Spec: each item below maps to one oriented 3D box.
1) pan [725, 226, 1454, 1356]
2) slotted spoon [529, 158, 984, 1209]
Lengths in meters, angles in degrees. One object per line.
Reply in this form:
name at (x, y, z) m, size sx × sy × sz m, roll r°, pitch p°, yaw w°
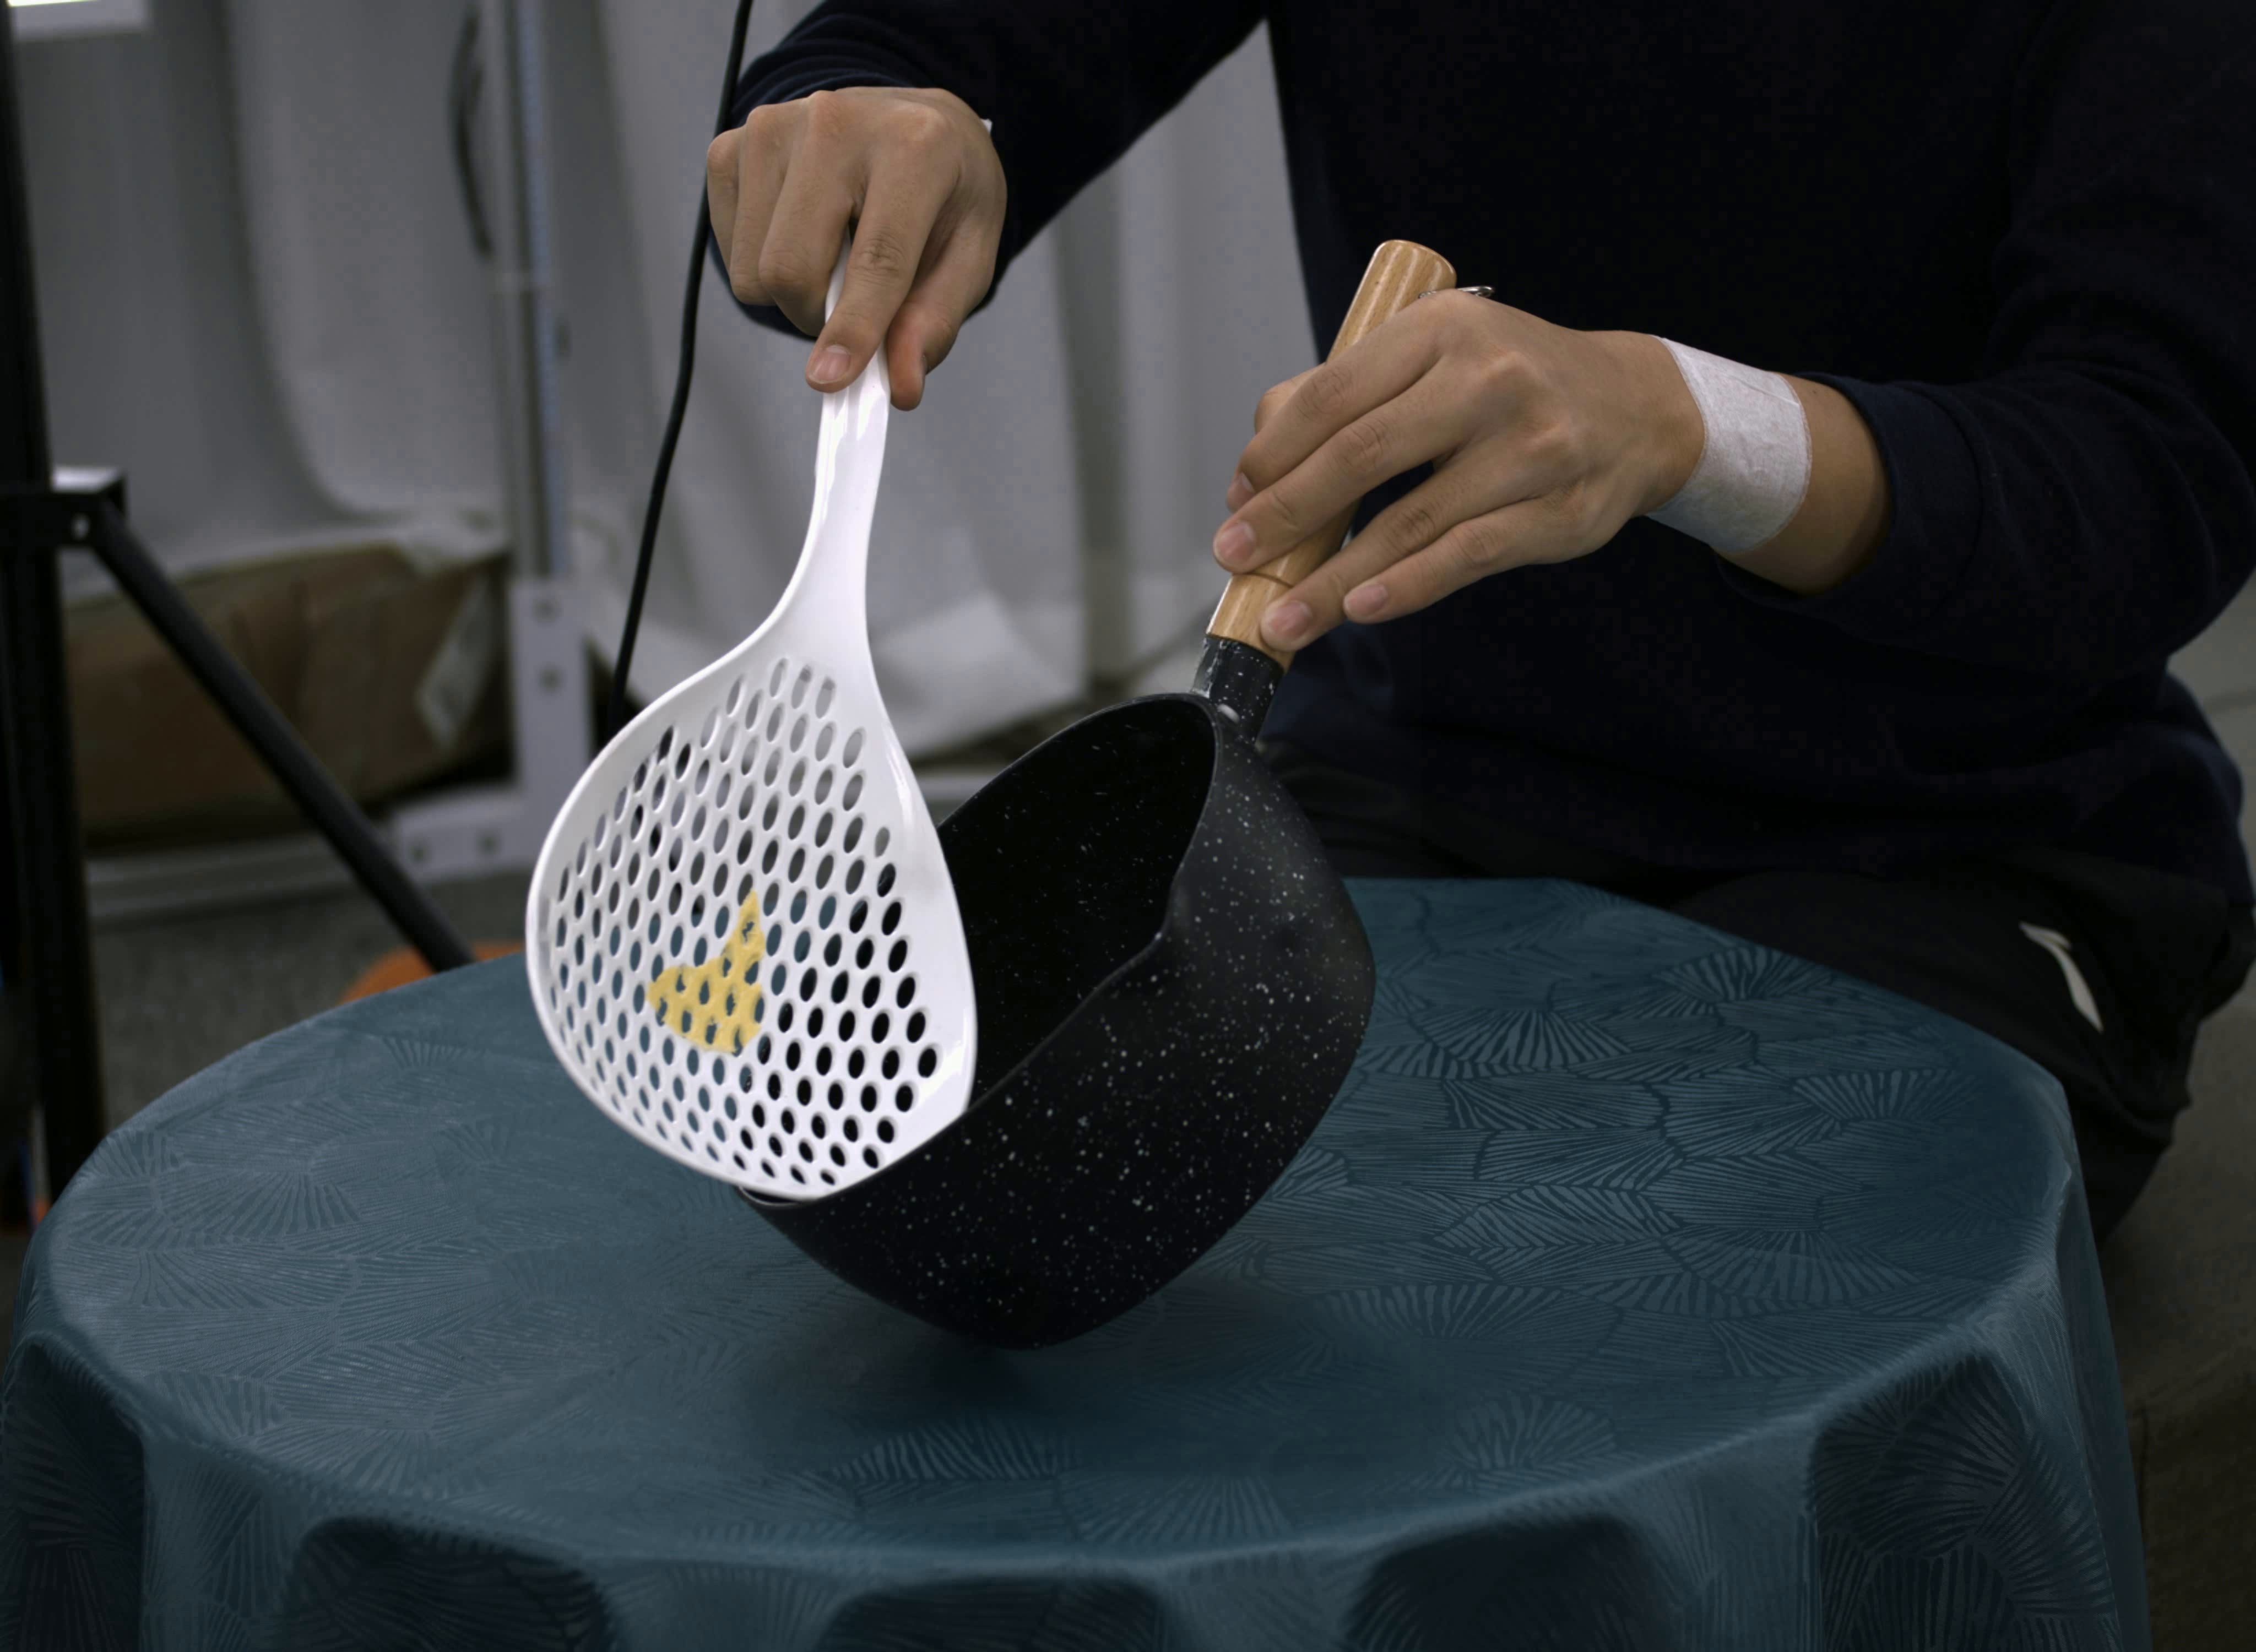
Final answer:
pan at (0.021, -0.008, 1.469) m, size 0.341 × 0.107 × 0.211 m, roll -55°, pitch 21°, yaw -22°
slotted spoon at (-0.093, -0.050, 1.482) m, size 0.134 × 0.350 × 0.051 m, roll 21°, pitch -32°, yaw -21°
